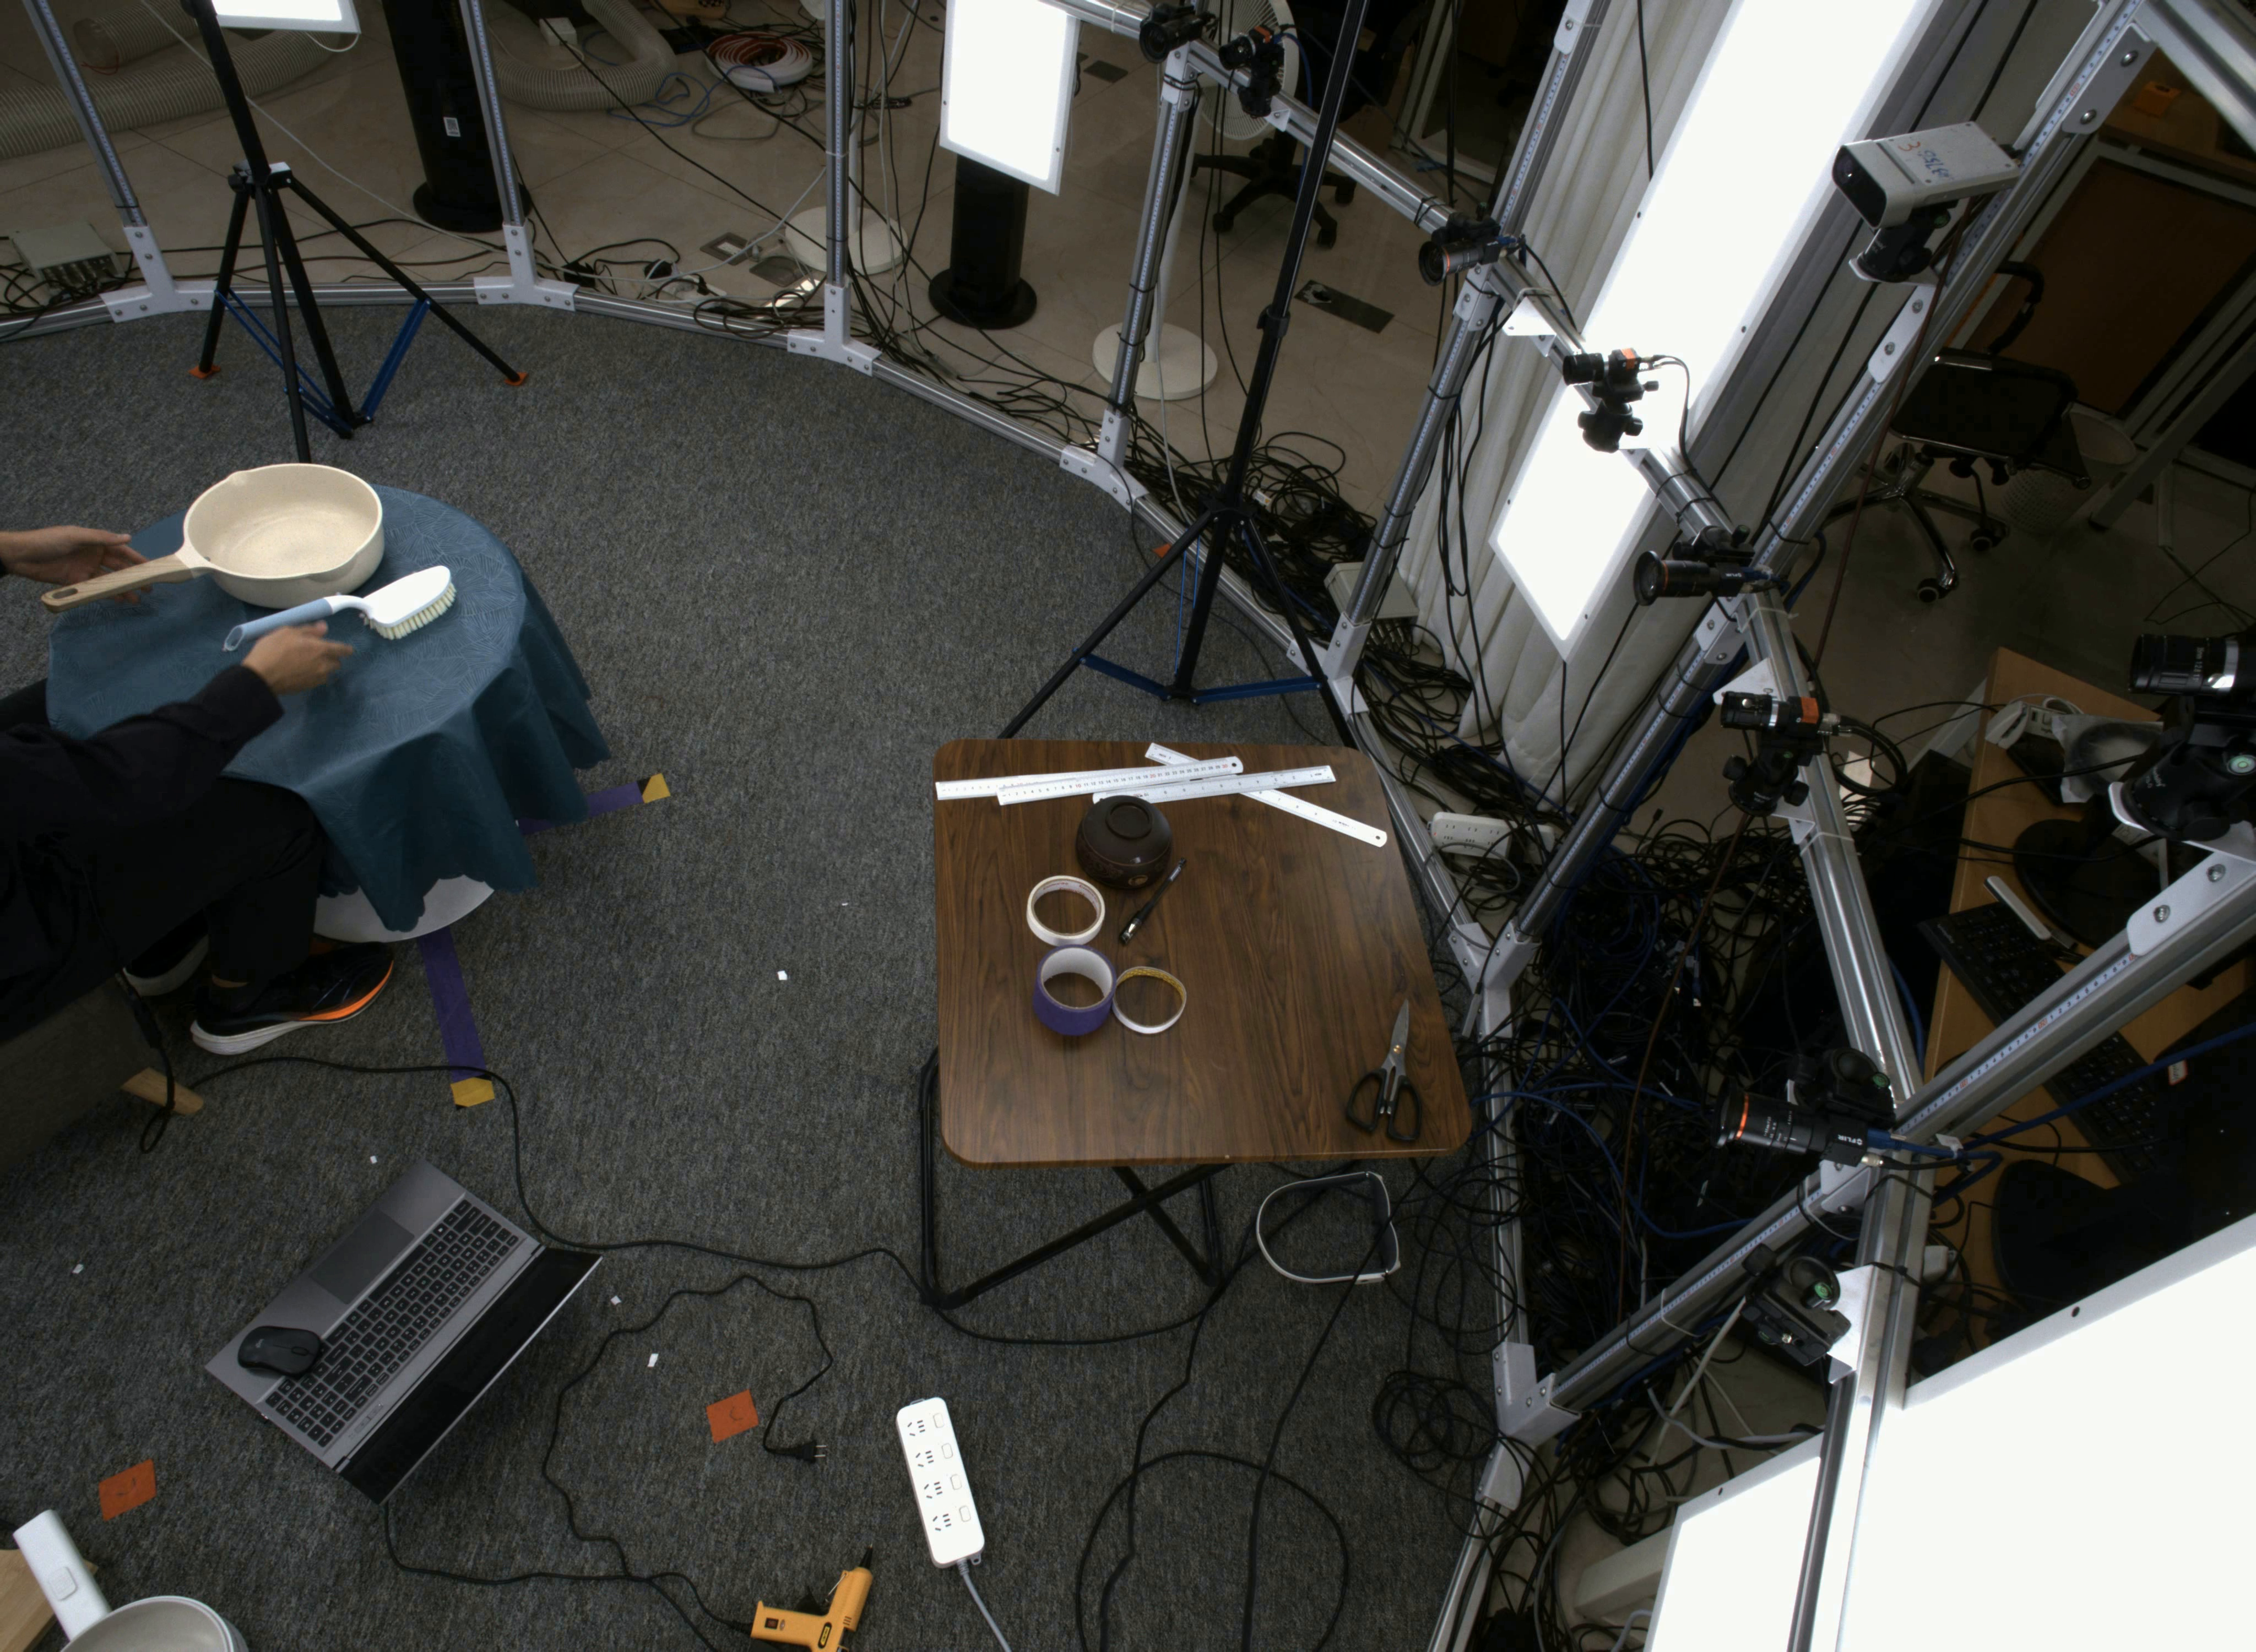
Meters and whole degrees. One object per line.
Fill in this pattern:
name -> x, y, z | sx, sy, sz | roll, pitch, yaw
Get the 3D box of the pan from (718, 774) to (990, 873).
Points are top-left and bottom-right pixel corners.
pan -> -0.441, -0.005, 2.114 | 0.438, 0.105, 0.254 | -2, 25, -21

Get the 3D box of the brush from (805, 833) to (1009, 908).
brush -> -0.336, 0.077, 1.975 | 0.331, 0.084, 0.082 | 9, -16, -28
